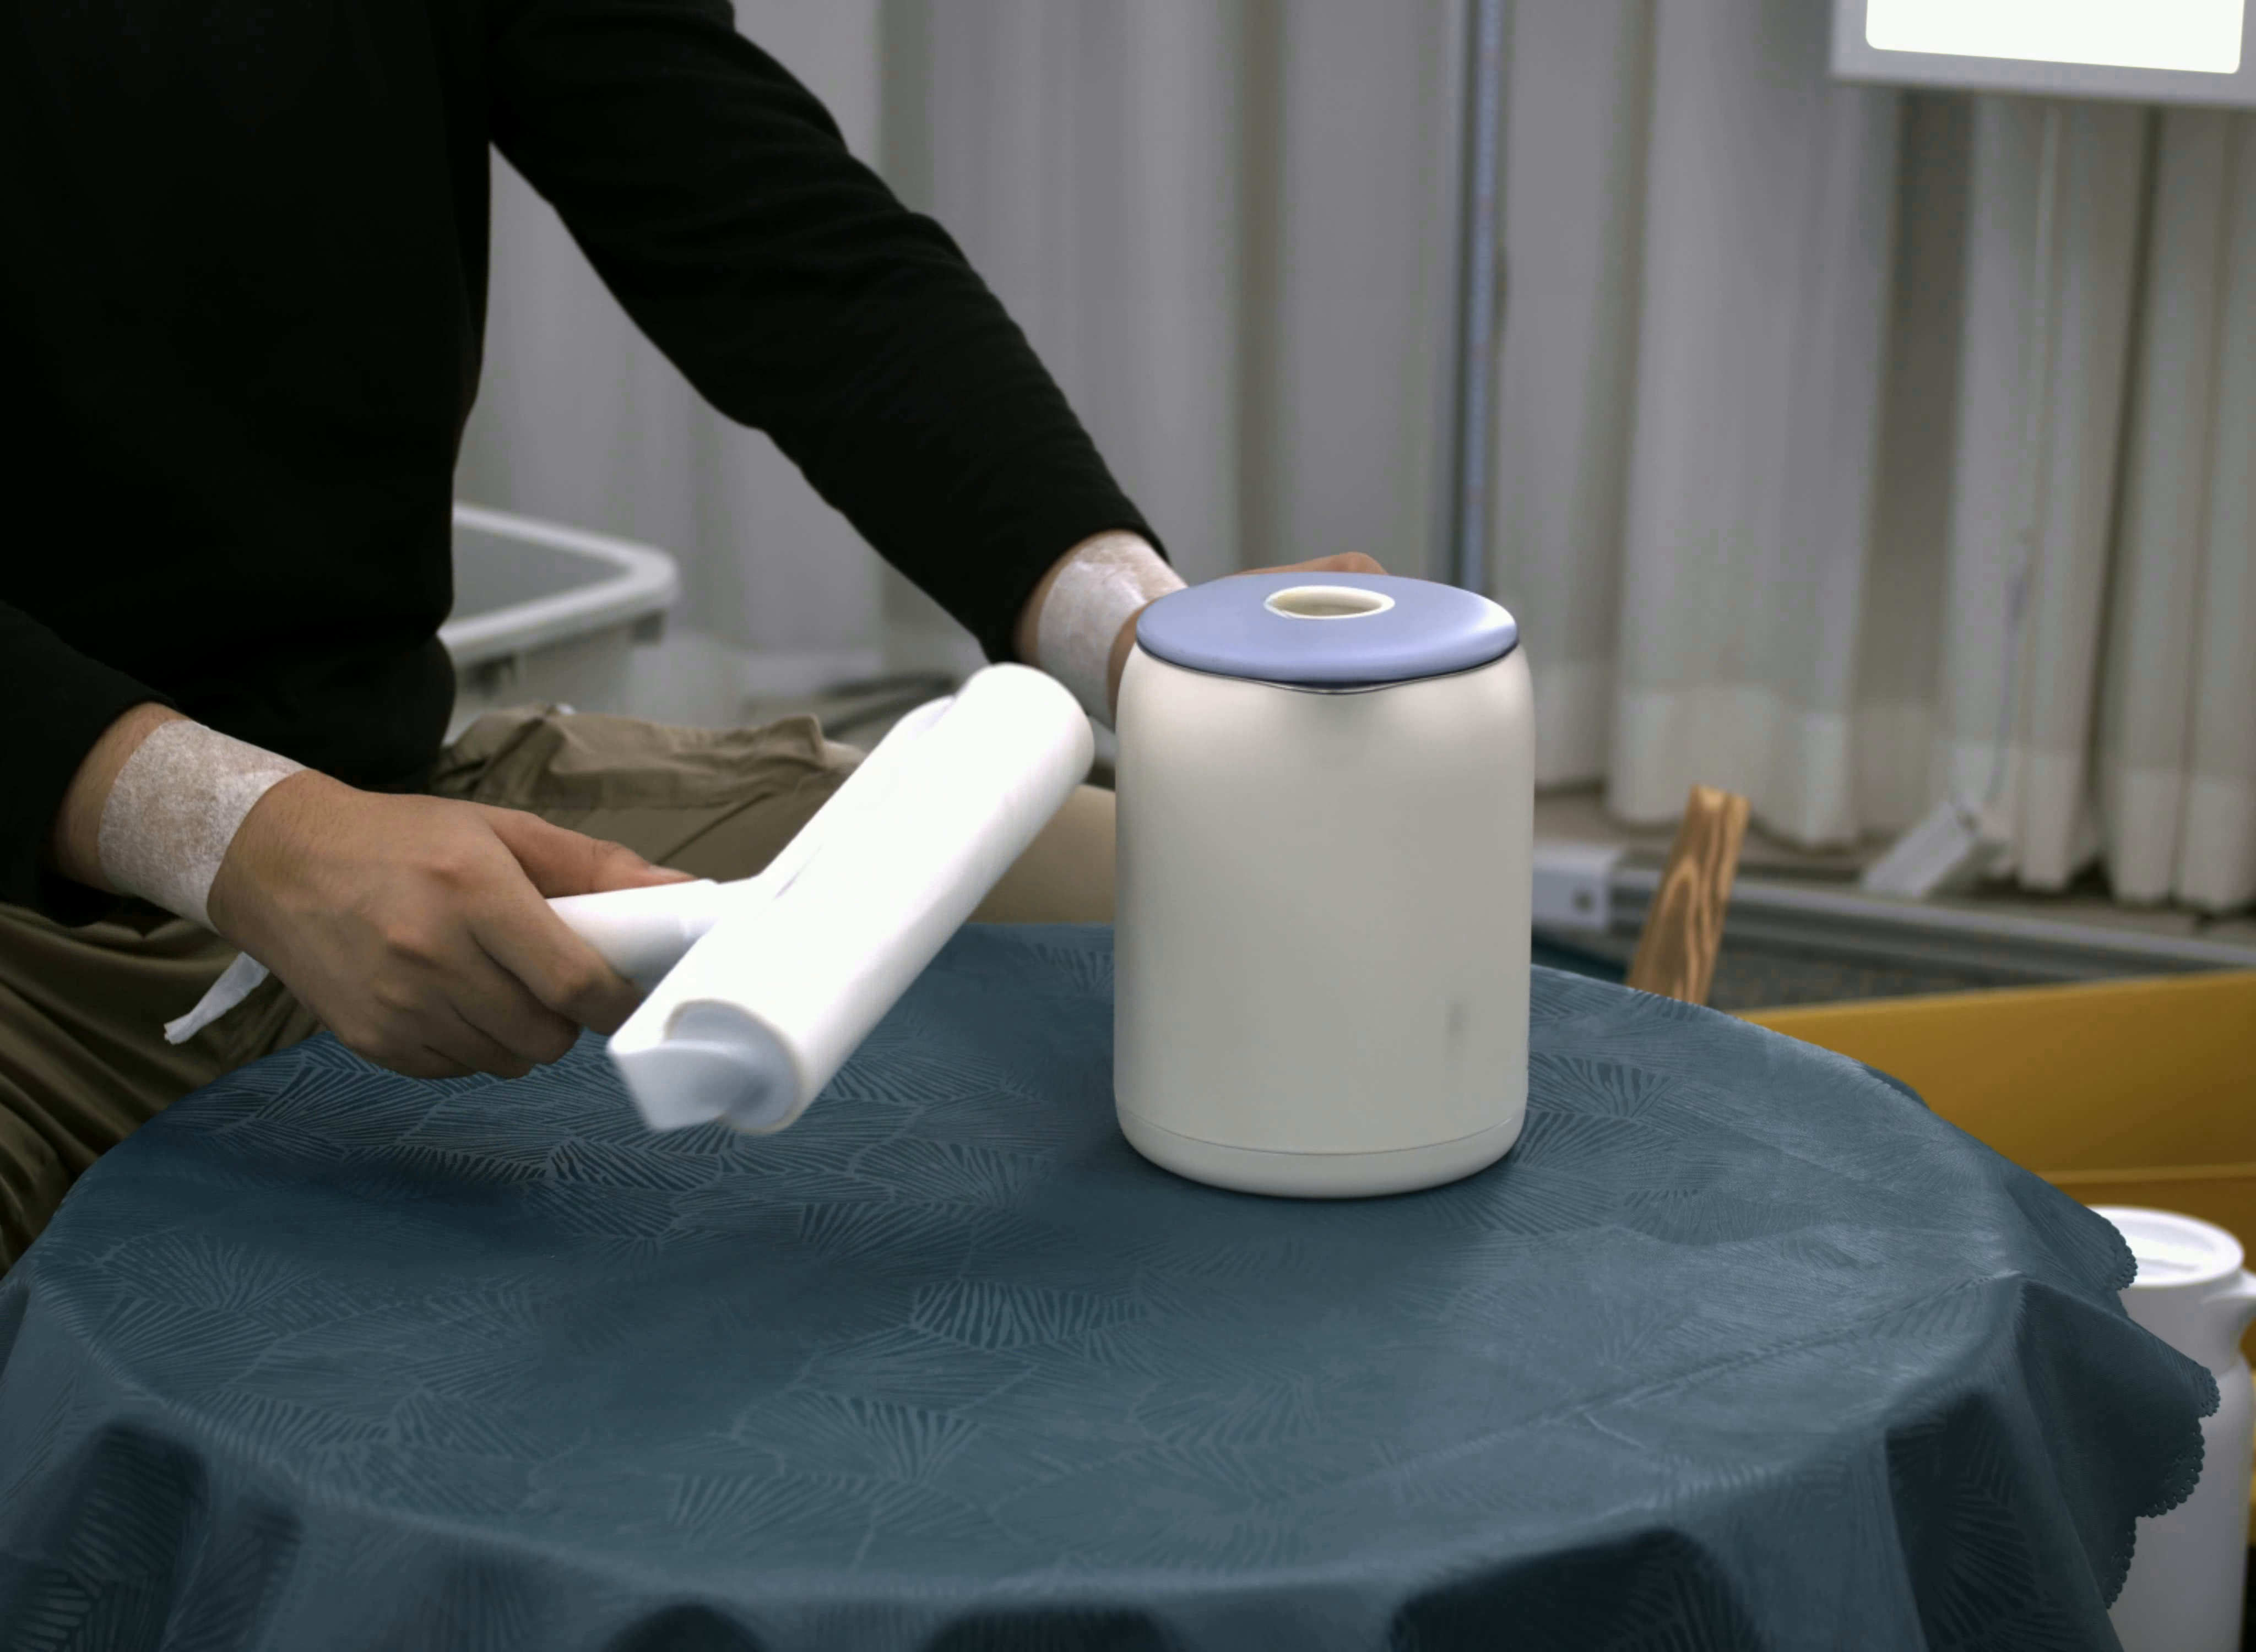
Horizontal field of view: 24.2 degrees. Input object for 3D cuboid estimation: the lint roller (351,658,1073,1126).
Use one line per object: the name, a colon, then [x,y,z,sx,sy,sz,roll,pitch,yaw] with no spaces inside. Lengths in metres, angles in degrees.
lint roller: [-0.148,0.026,1.591,0.223,0.049,0.202,-7,28,29]

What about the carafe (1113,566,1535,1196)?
carafe: [0.061,0.010,1.668,0.132,0.184,0.190,0,14,-2]
